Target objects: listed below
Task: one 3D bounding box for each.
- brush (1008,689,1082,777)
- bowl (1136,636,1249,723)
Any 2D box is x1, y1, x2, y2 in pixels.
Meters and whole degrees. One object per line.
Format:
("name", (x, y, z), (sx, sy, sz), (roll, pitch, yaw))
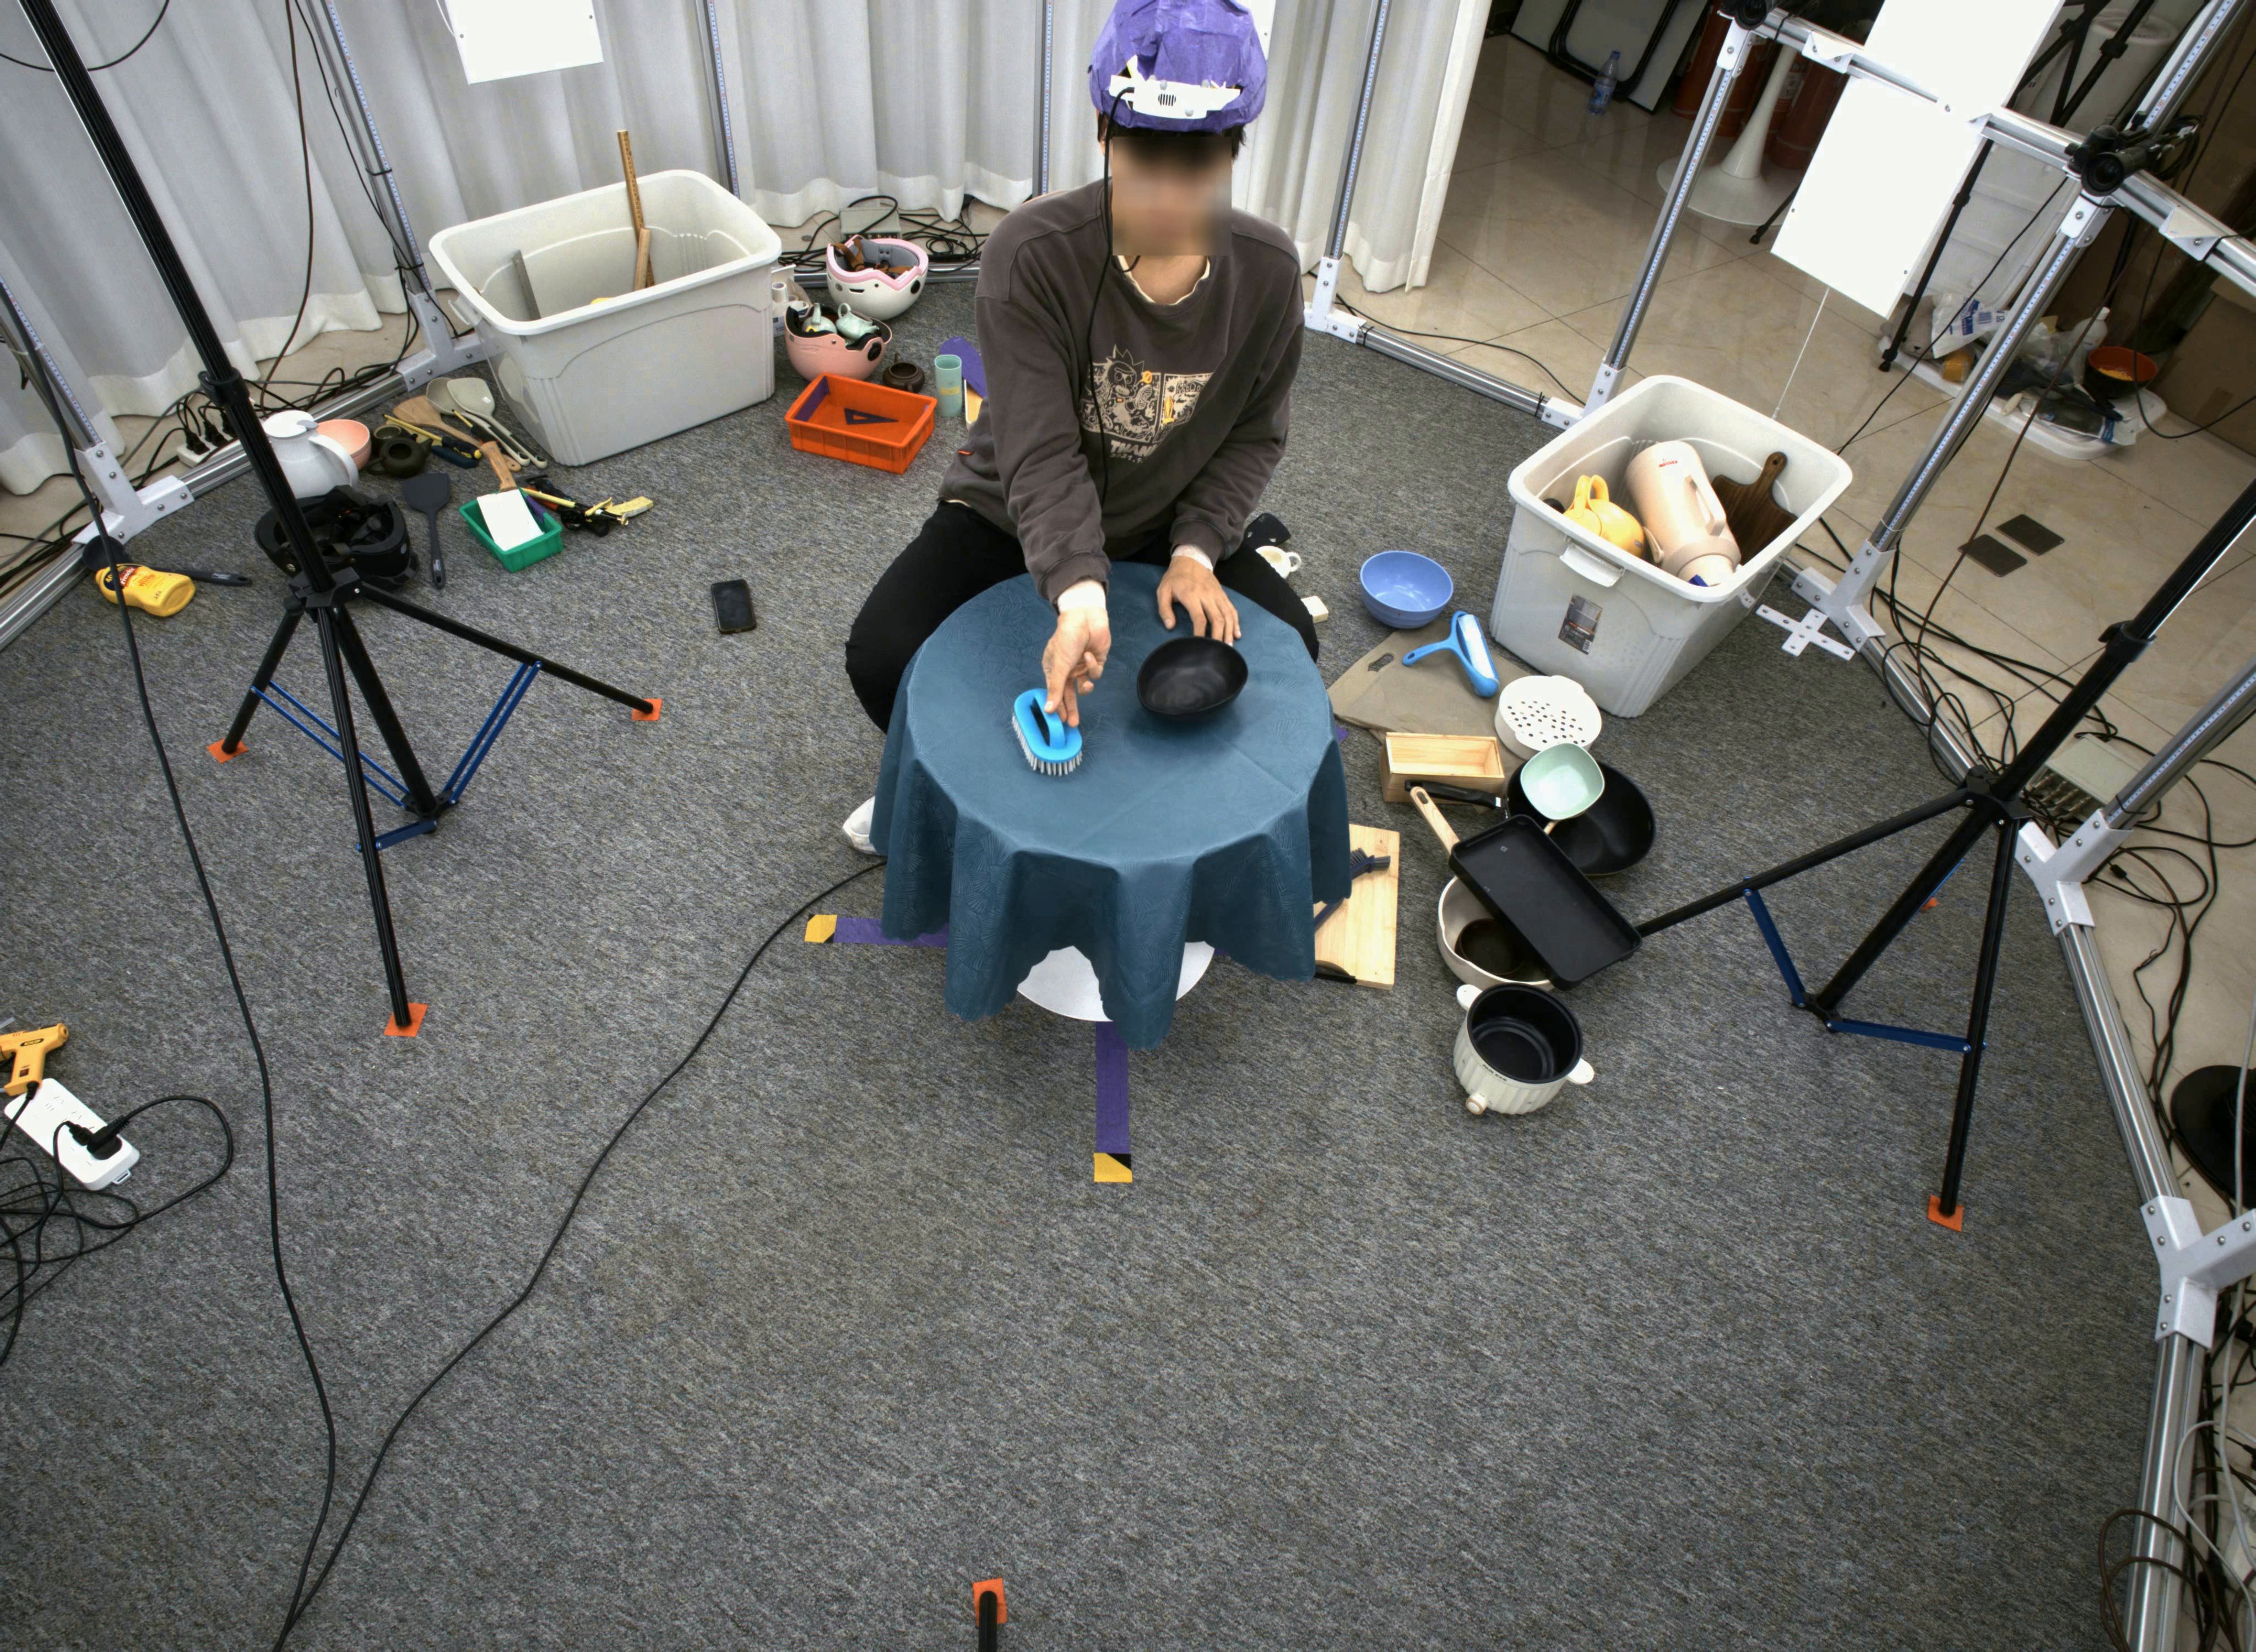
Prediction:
("brush", (-0.110, -0.138, 1.736), (0.084, 0.062, 0.145), (-9, 51, -17))
("bowl", (0.089, -0.193, 1.798), (0.171, 0.065, 0.139), (-34, 58, -27))
